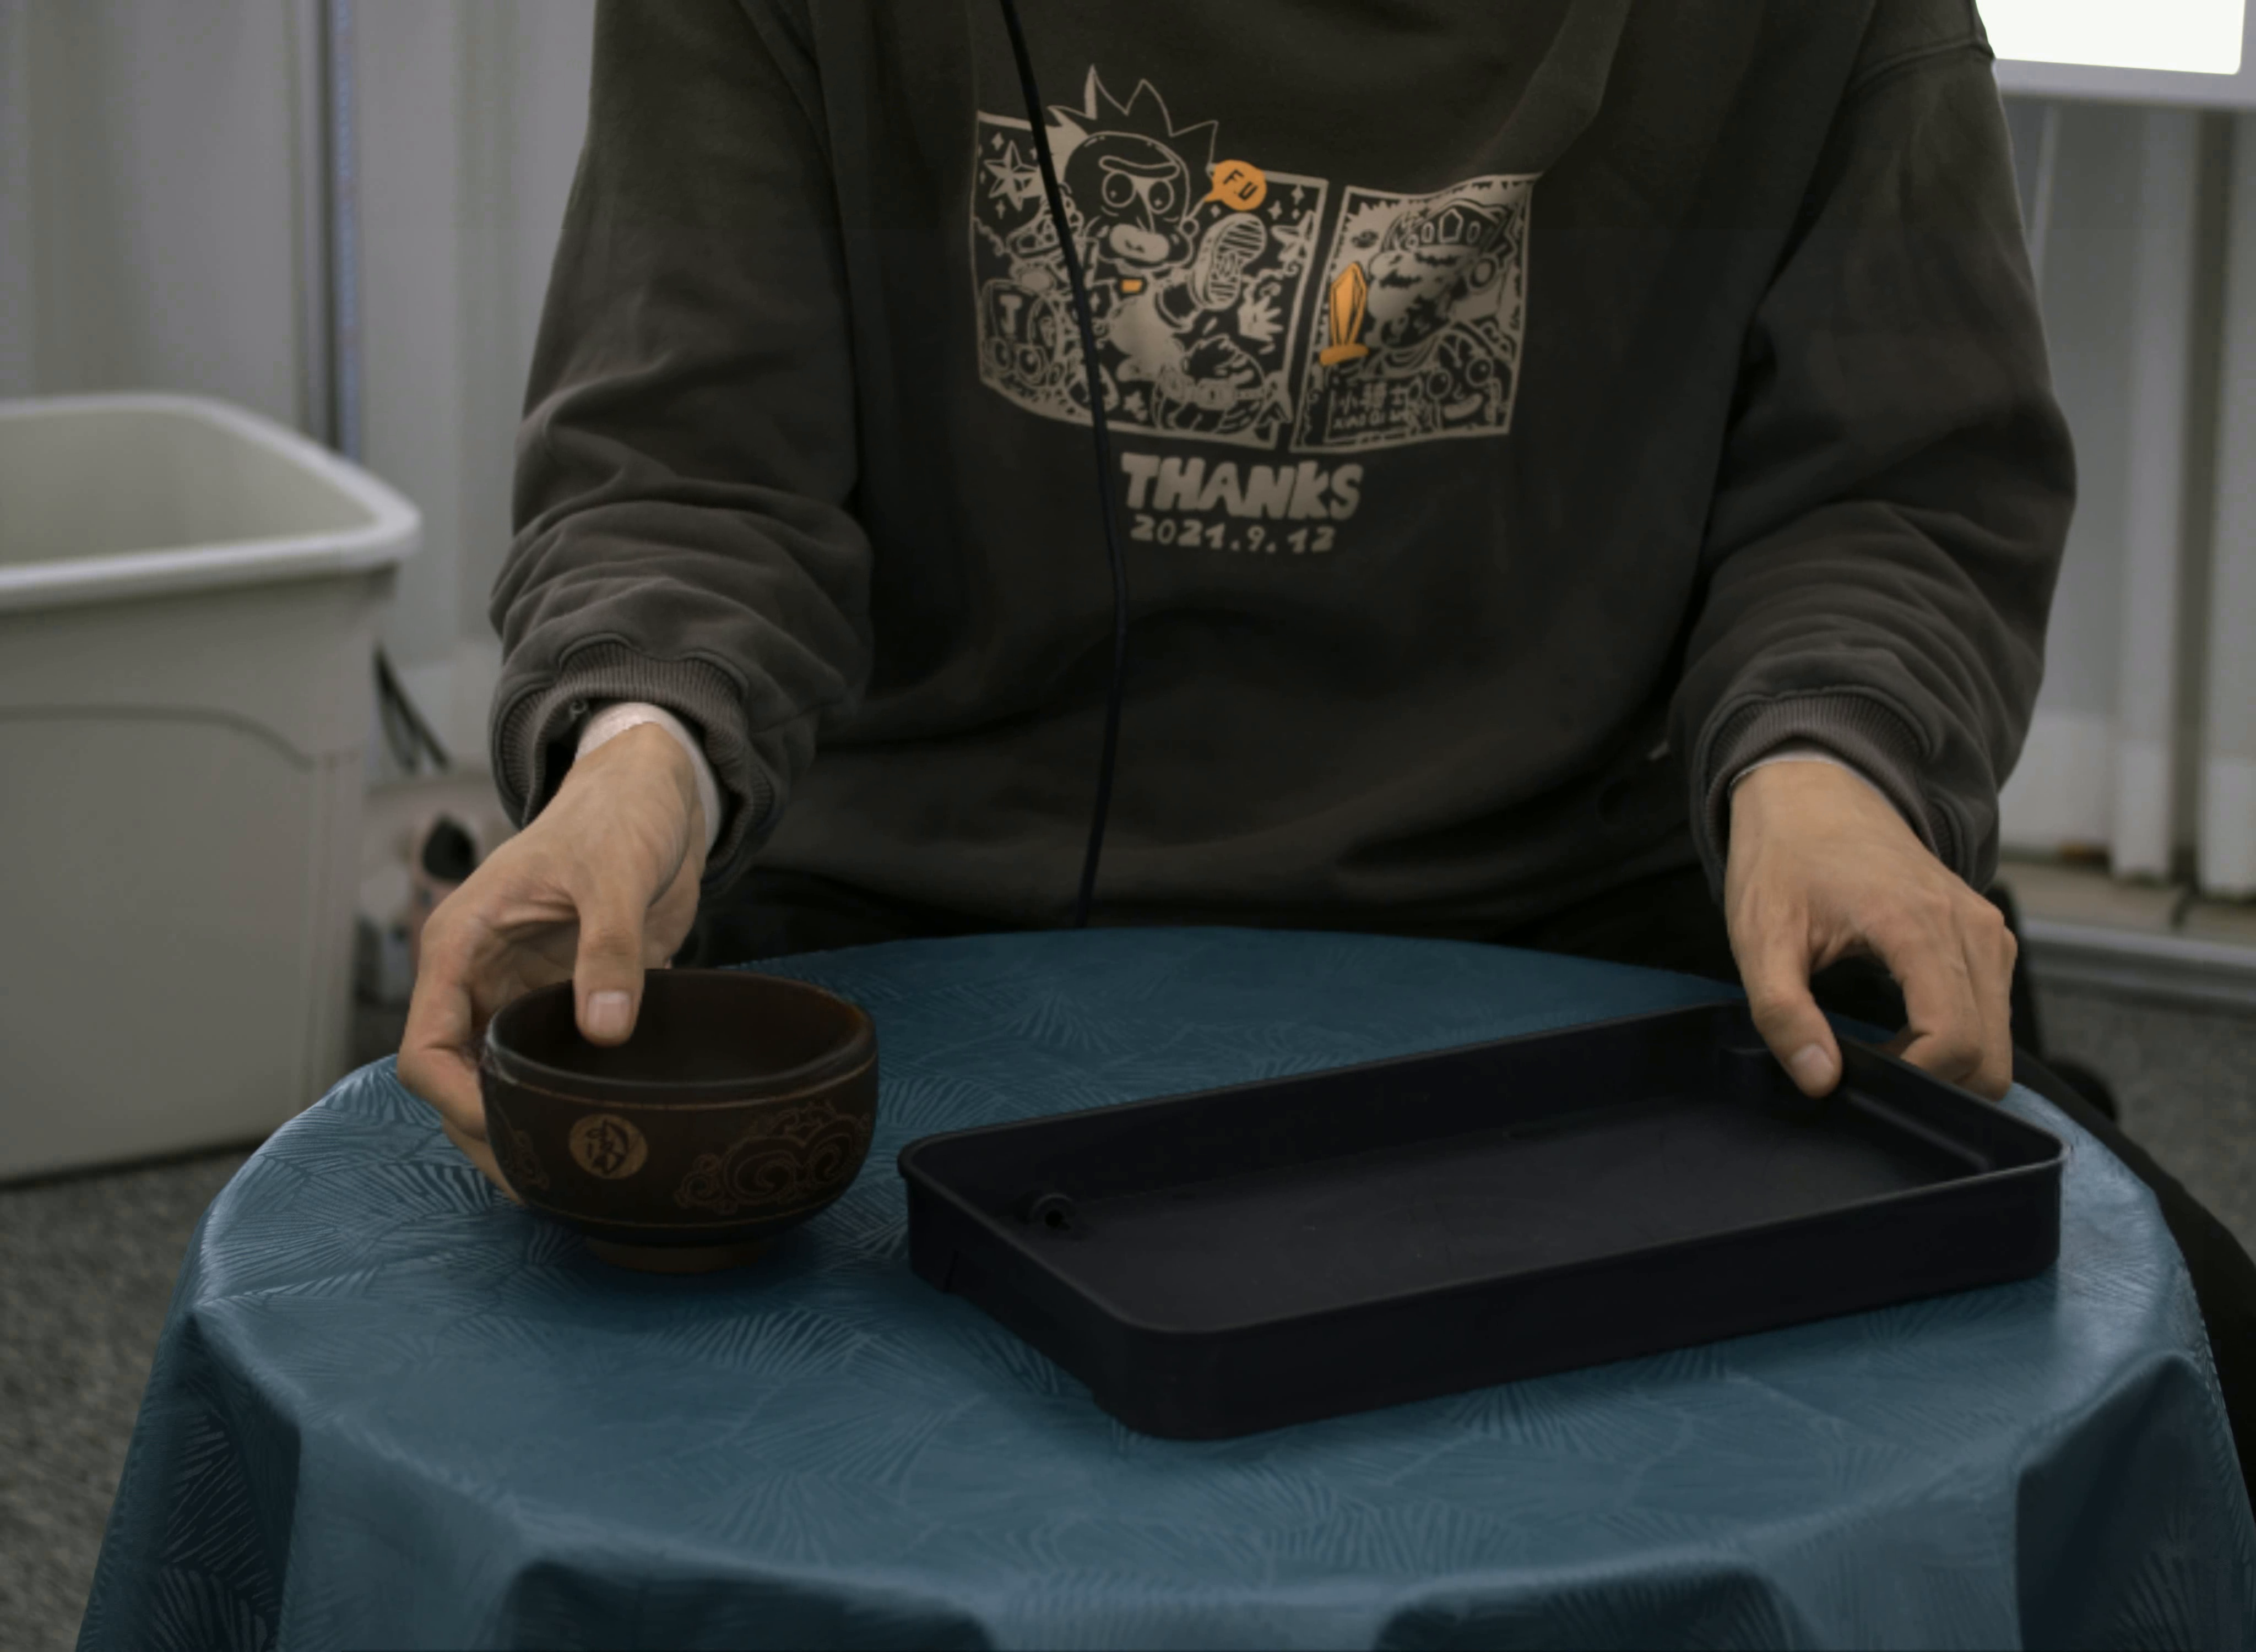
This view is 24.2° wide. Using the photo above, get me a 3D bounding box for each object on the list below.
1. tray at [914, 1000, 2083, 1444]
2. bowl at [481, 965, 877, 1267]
[{"bbox_3d":[0.111,0.112,1.567,0.319,0.037,0.182,-9,18,-29],"label":"tray"},{"bbox_3d":[-0.134,0.090,1.571,0.117,0.070,0.117,1,15,0],"label":"bowl"}]
